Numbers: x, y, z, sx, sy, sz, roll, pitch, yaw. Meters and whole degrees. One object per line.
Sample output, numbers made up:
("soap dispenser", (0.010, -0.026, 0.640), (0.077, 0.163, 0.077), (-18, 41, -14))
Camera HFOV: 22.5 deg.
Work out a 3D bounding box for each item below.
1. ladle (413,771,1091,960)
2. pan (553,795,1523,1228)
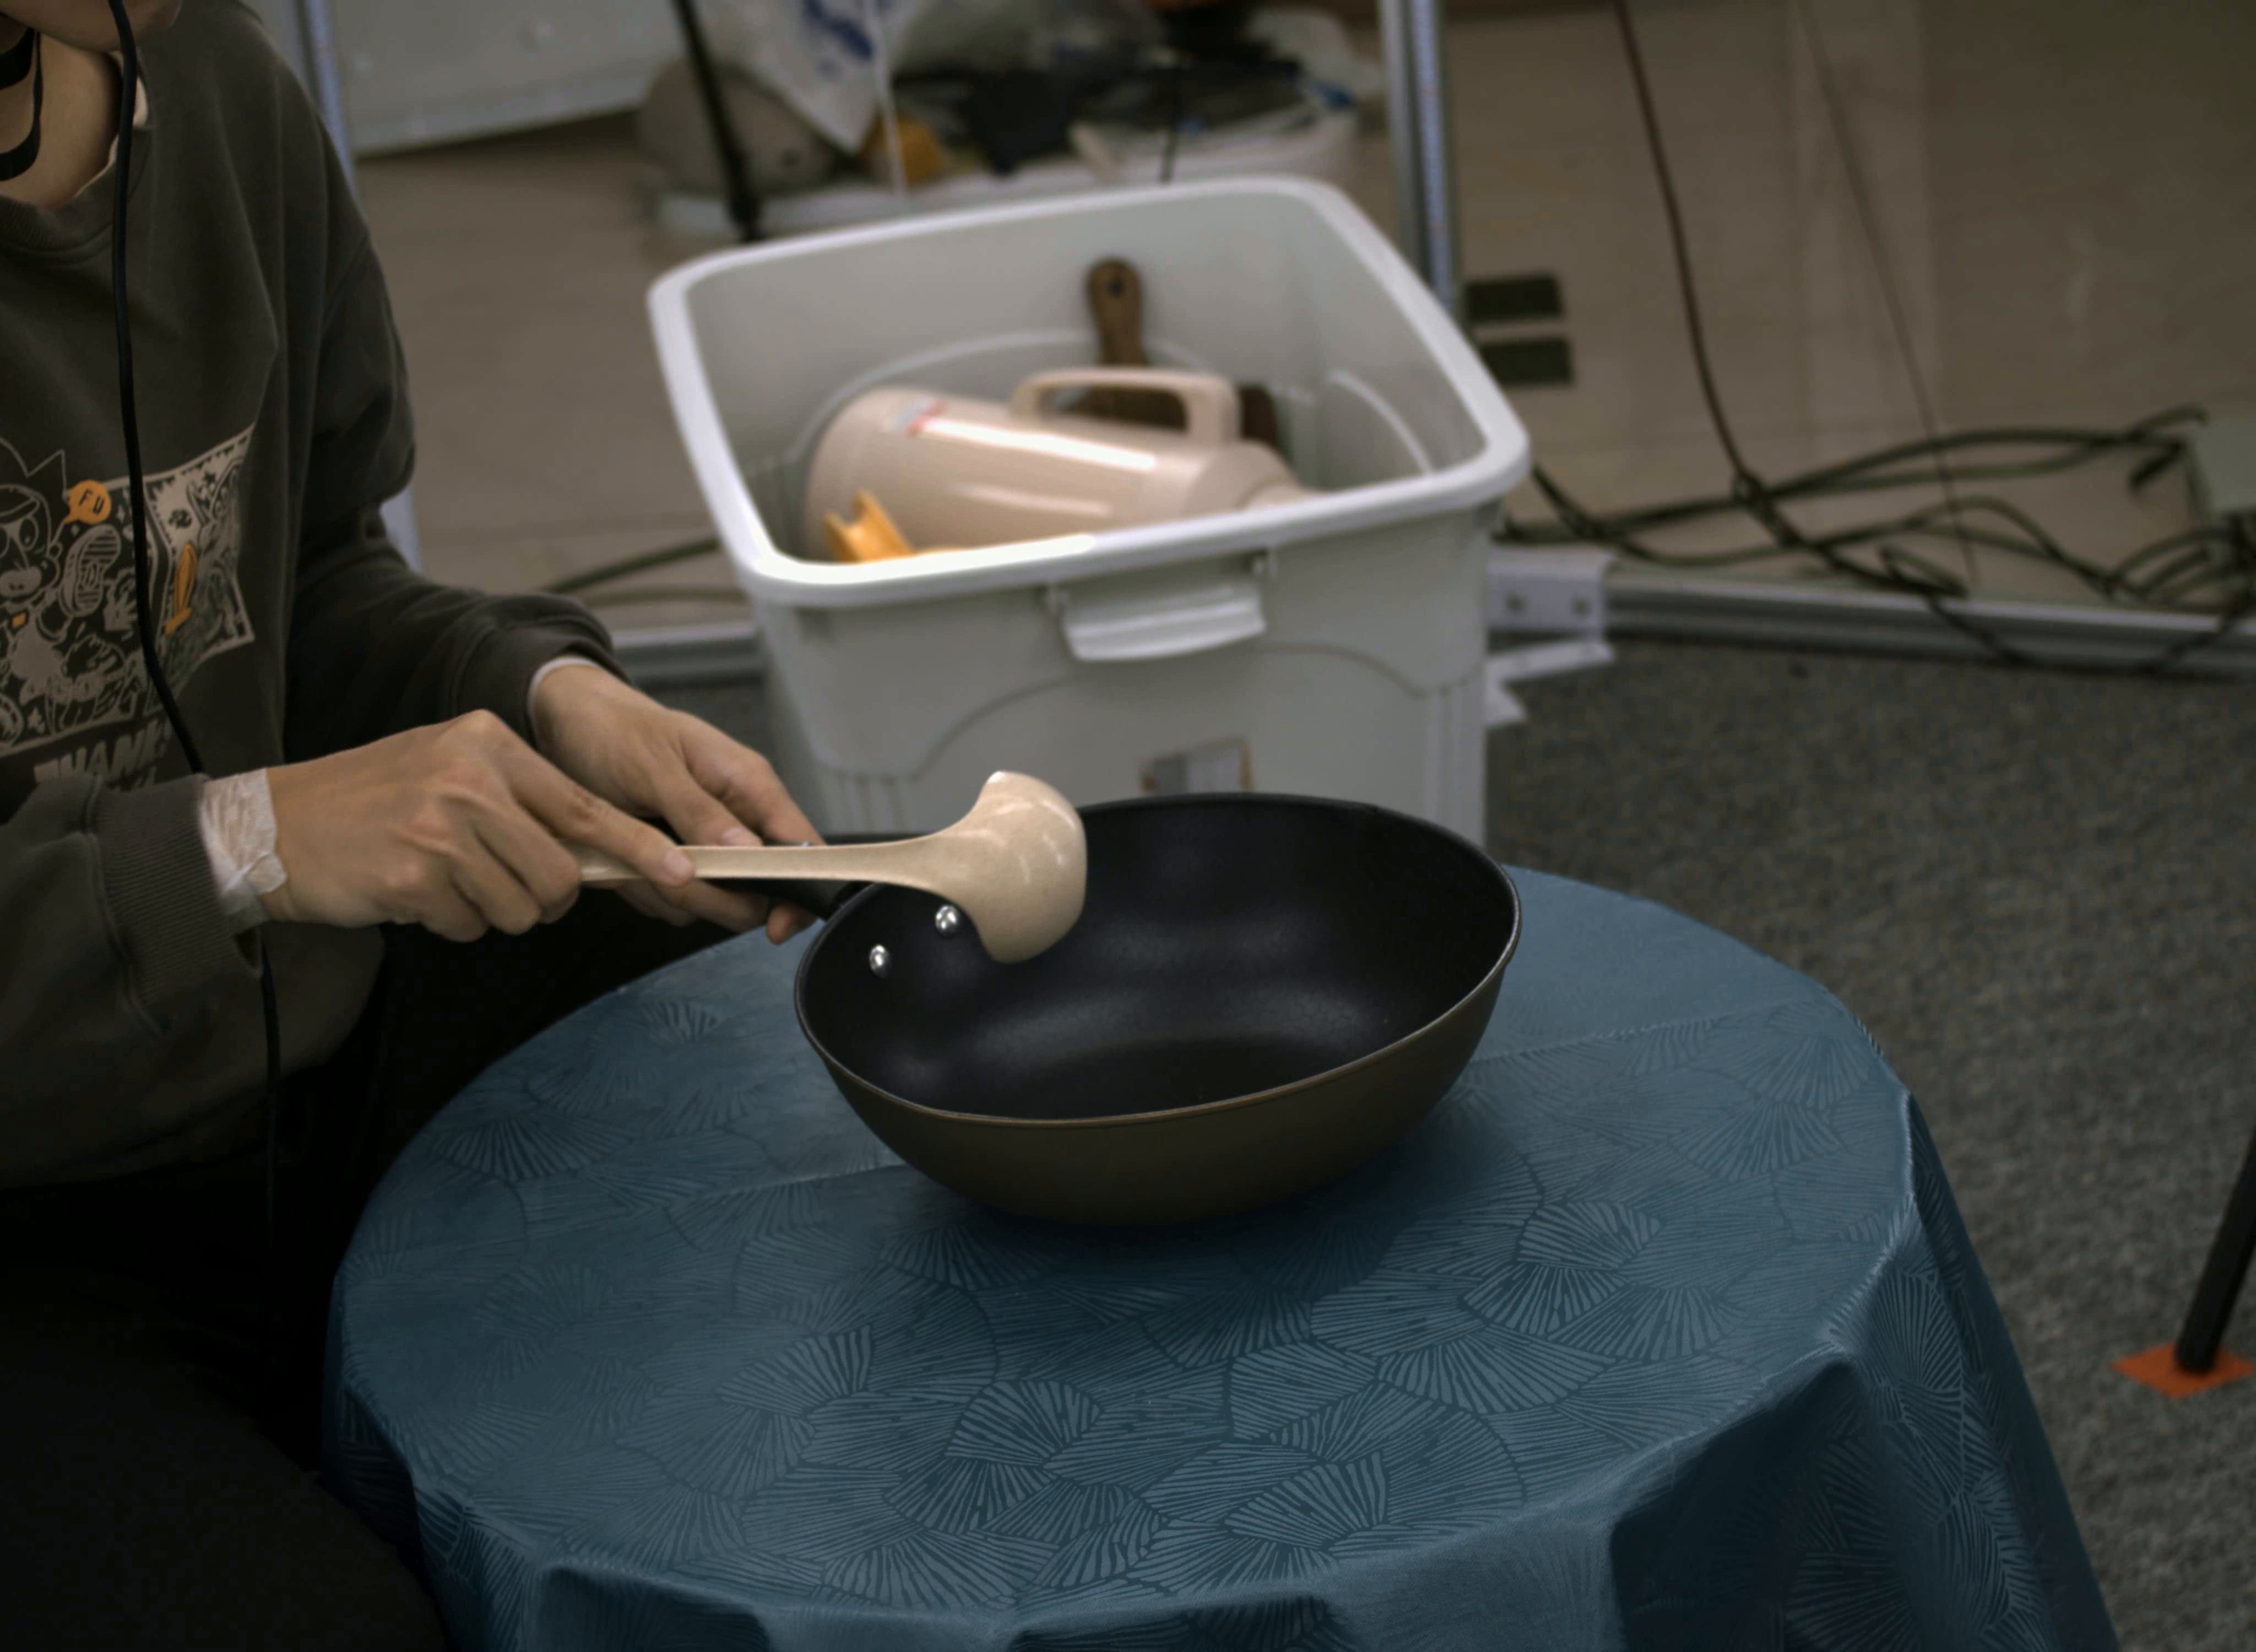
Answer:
("ladle", (-0.142, 0.009, 2.138), (0.254, 0.072, 0.073), (3, 0, -7))
("pan", (-0.056, 0.065, 2.221), (0.460, 0.088, 0.285), (12, 31, 37))
